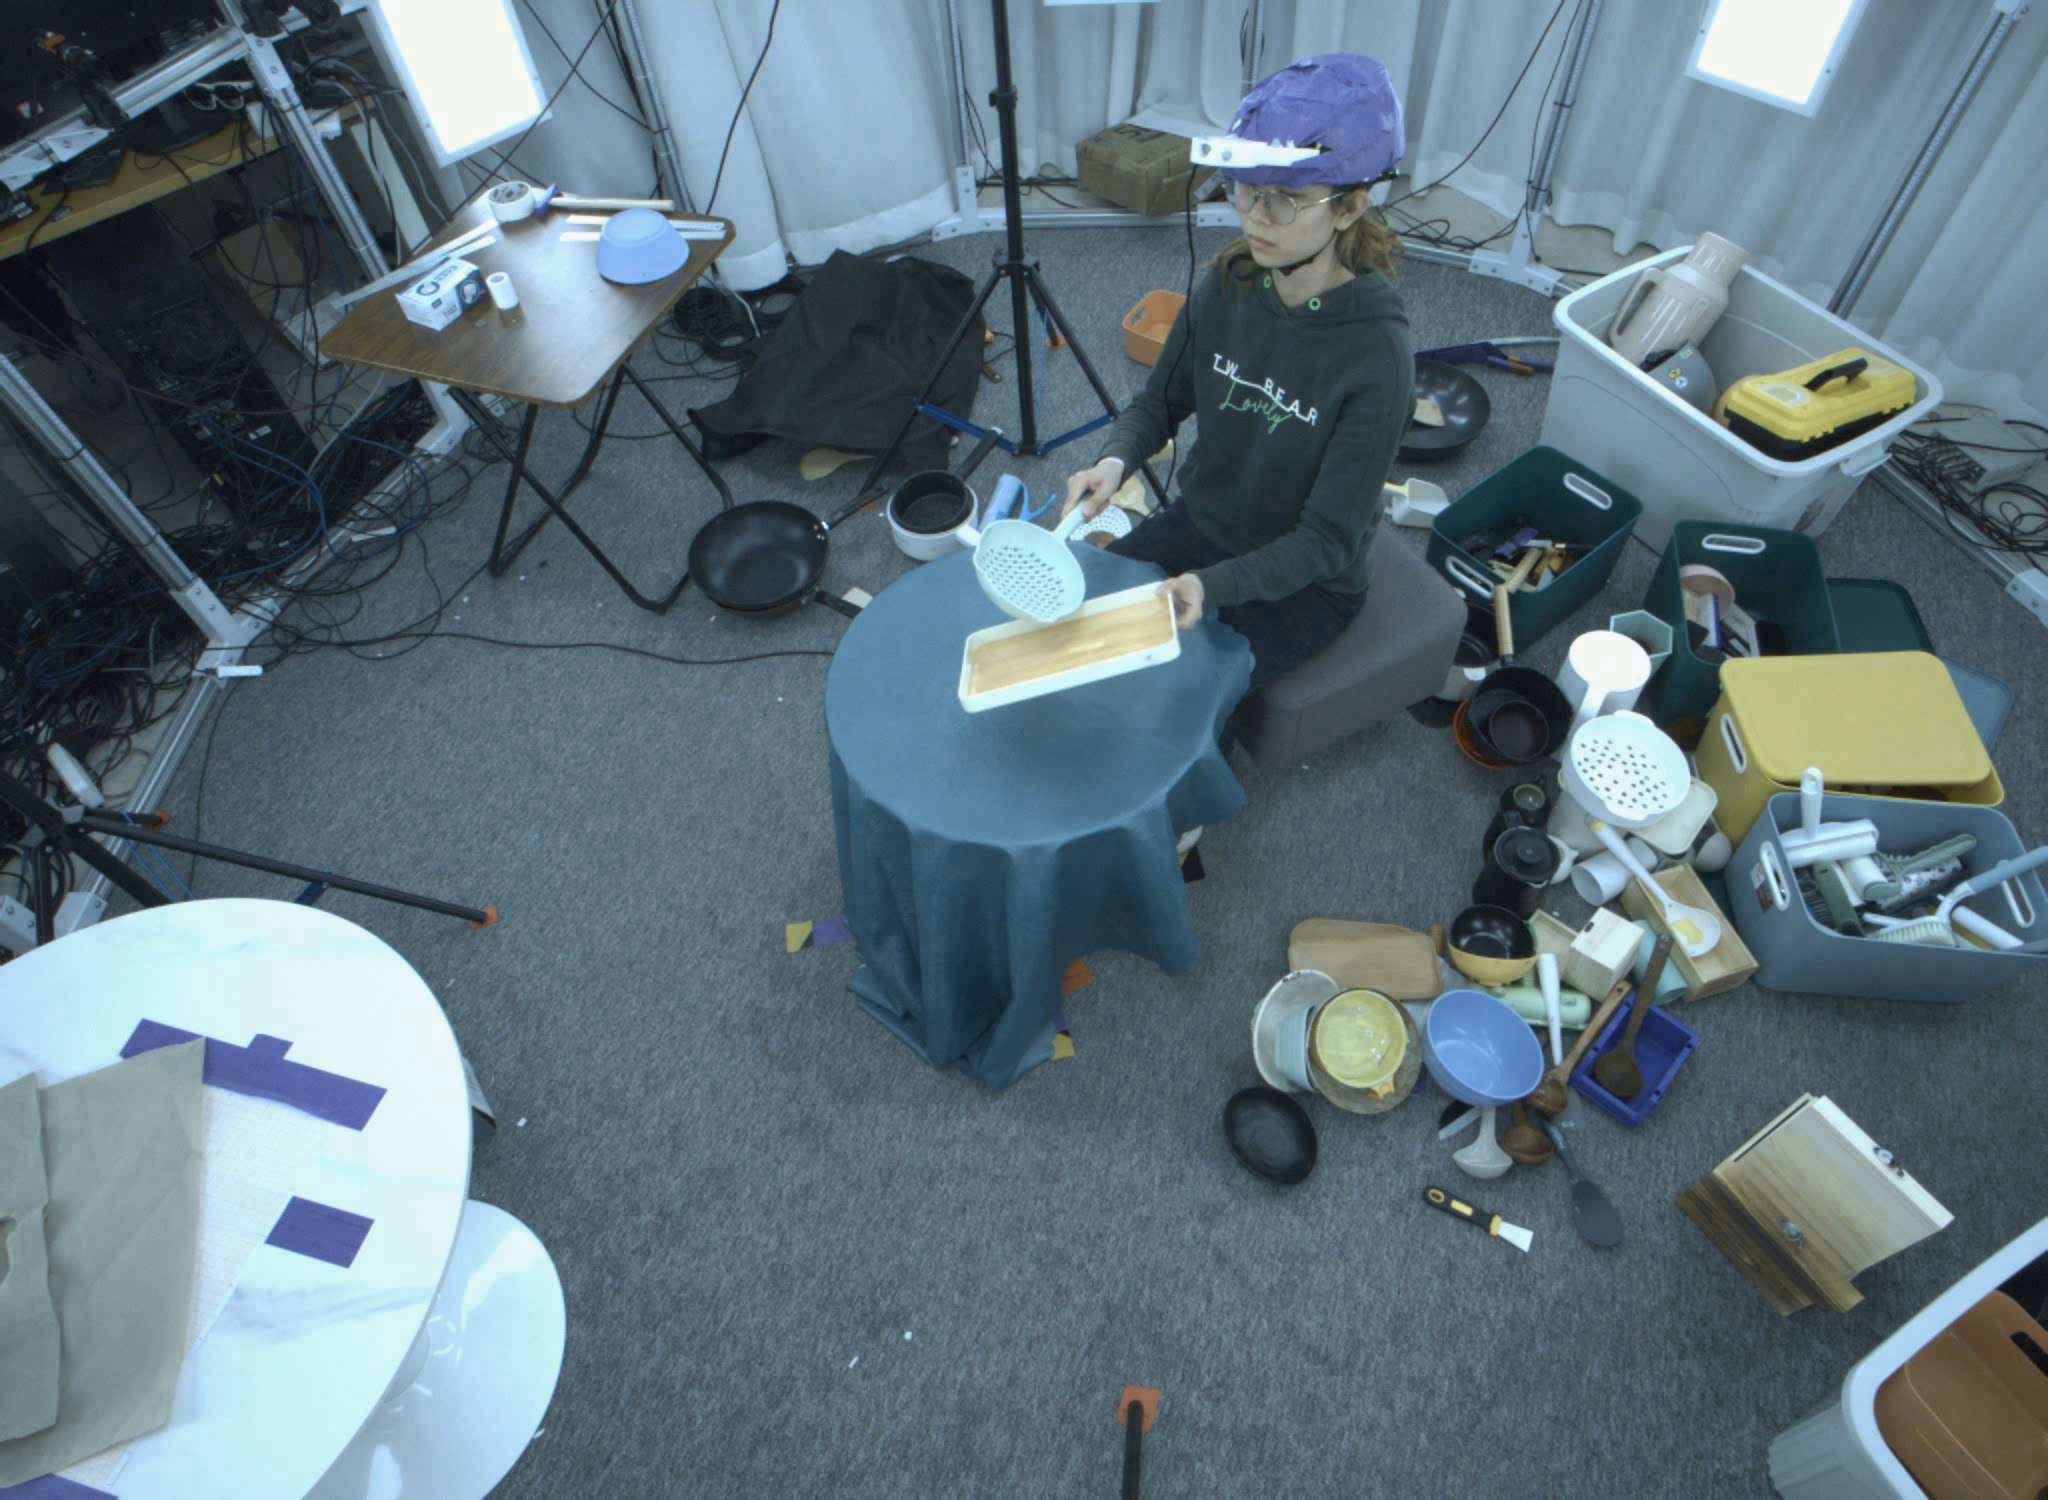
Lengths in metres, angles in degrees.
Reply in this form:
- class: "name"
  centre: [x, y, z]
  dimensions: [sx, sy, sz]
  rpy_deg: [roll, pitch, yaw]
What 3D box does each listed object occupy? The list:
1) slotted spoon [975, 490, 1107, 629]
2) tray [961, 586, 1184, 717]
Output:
- class: "slotted spoon"
  centre: [0.049, -0.297, 1.772]
  dimensions: [0.170, 0.074, 0.360]
  rpy_deg: [40, 54, -6]
- class: "tray"
  centre: [0.064, -0.136, 1.677]
  dimensions: [0.298, 0.028, 0.189]
  rpy_deg: [-14, 33, 10]
